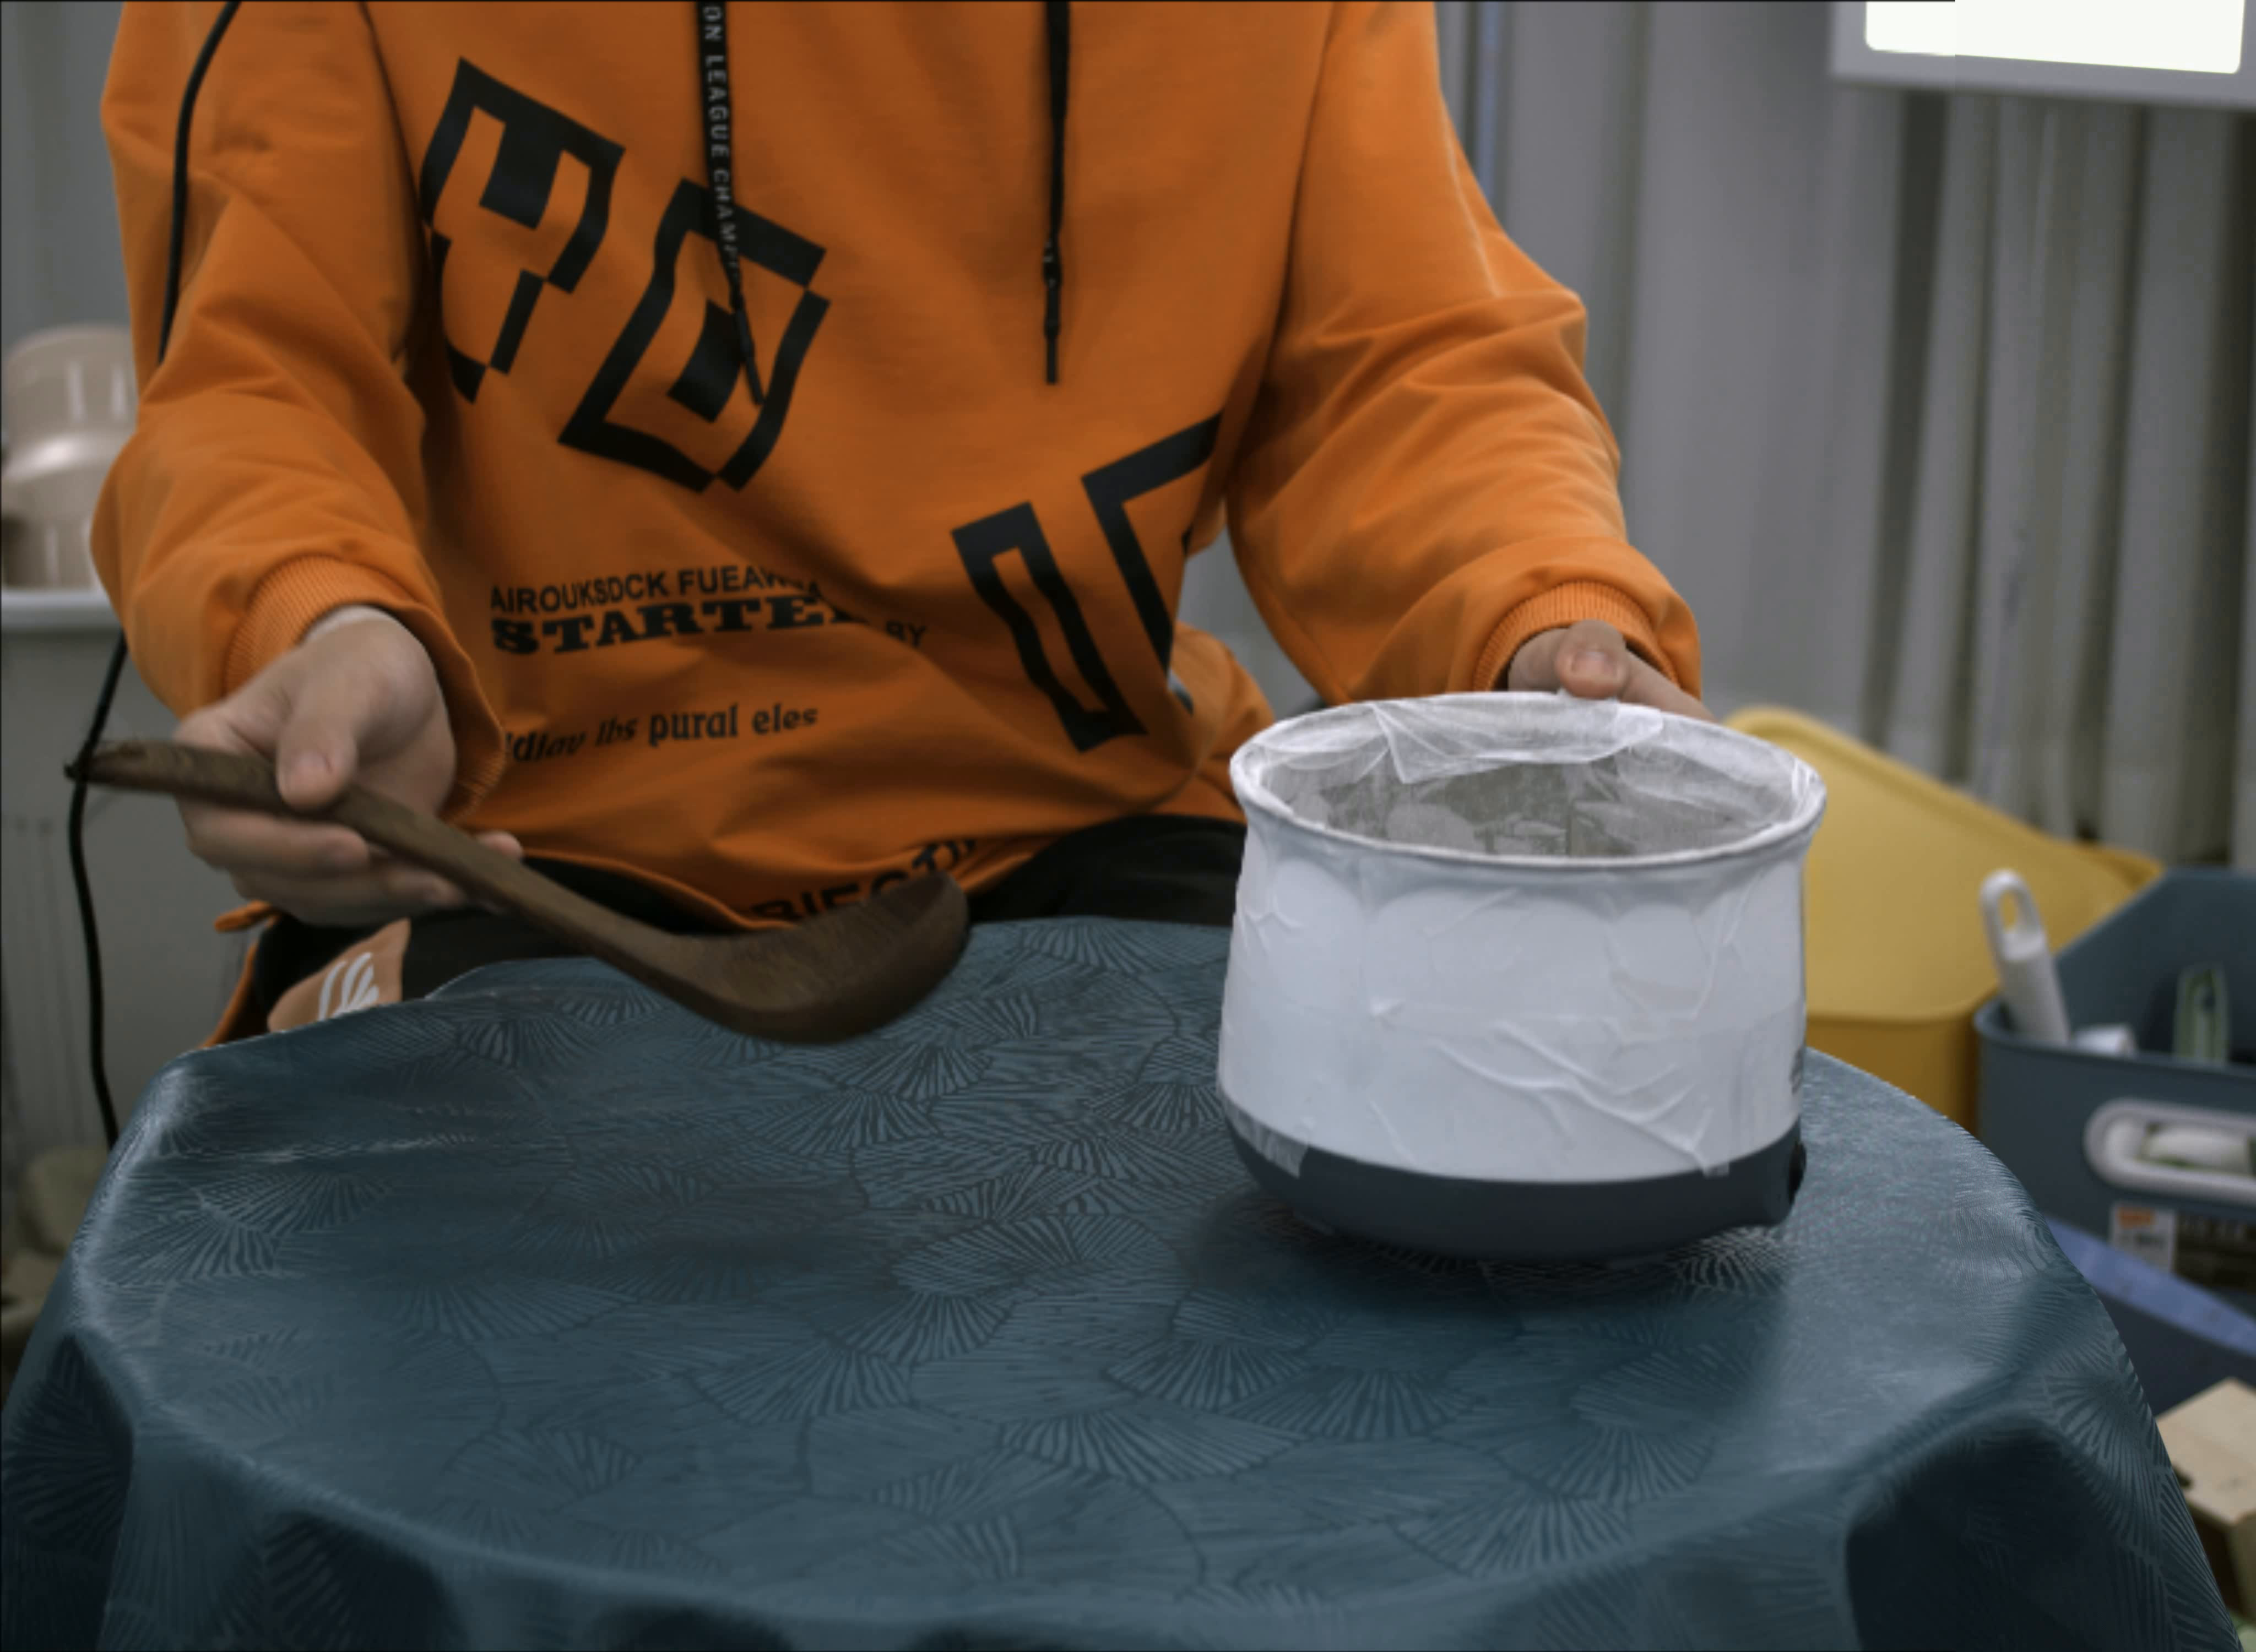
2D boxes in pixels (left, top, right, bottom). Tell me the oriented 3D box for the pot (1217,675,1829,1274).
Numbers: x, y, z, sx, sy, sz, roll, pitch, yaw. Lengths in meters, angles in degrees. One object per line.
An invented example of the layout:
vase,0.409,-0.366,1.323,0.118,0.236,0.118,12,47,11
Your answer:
pot,0.122,0.038,1.599,0.177,0.138,0.233,6,18,11

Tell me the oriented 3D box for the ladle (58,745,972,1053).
ladle,-0.181,0.002,1.561,0.273,0.072,0.076,21,22,1
